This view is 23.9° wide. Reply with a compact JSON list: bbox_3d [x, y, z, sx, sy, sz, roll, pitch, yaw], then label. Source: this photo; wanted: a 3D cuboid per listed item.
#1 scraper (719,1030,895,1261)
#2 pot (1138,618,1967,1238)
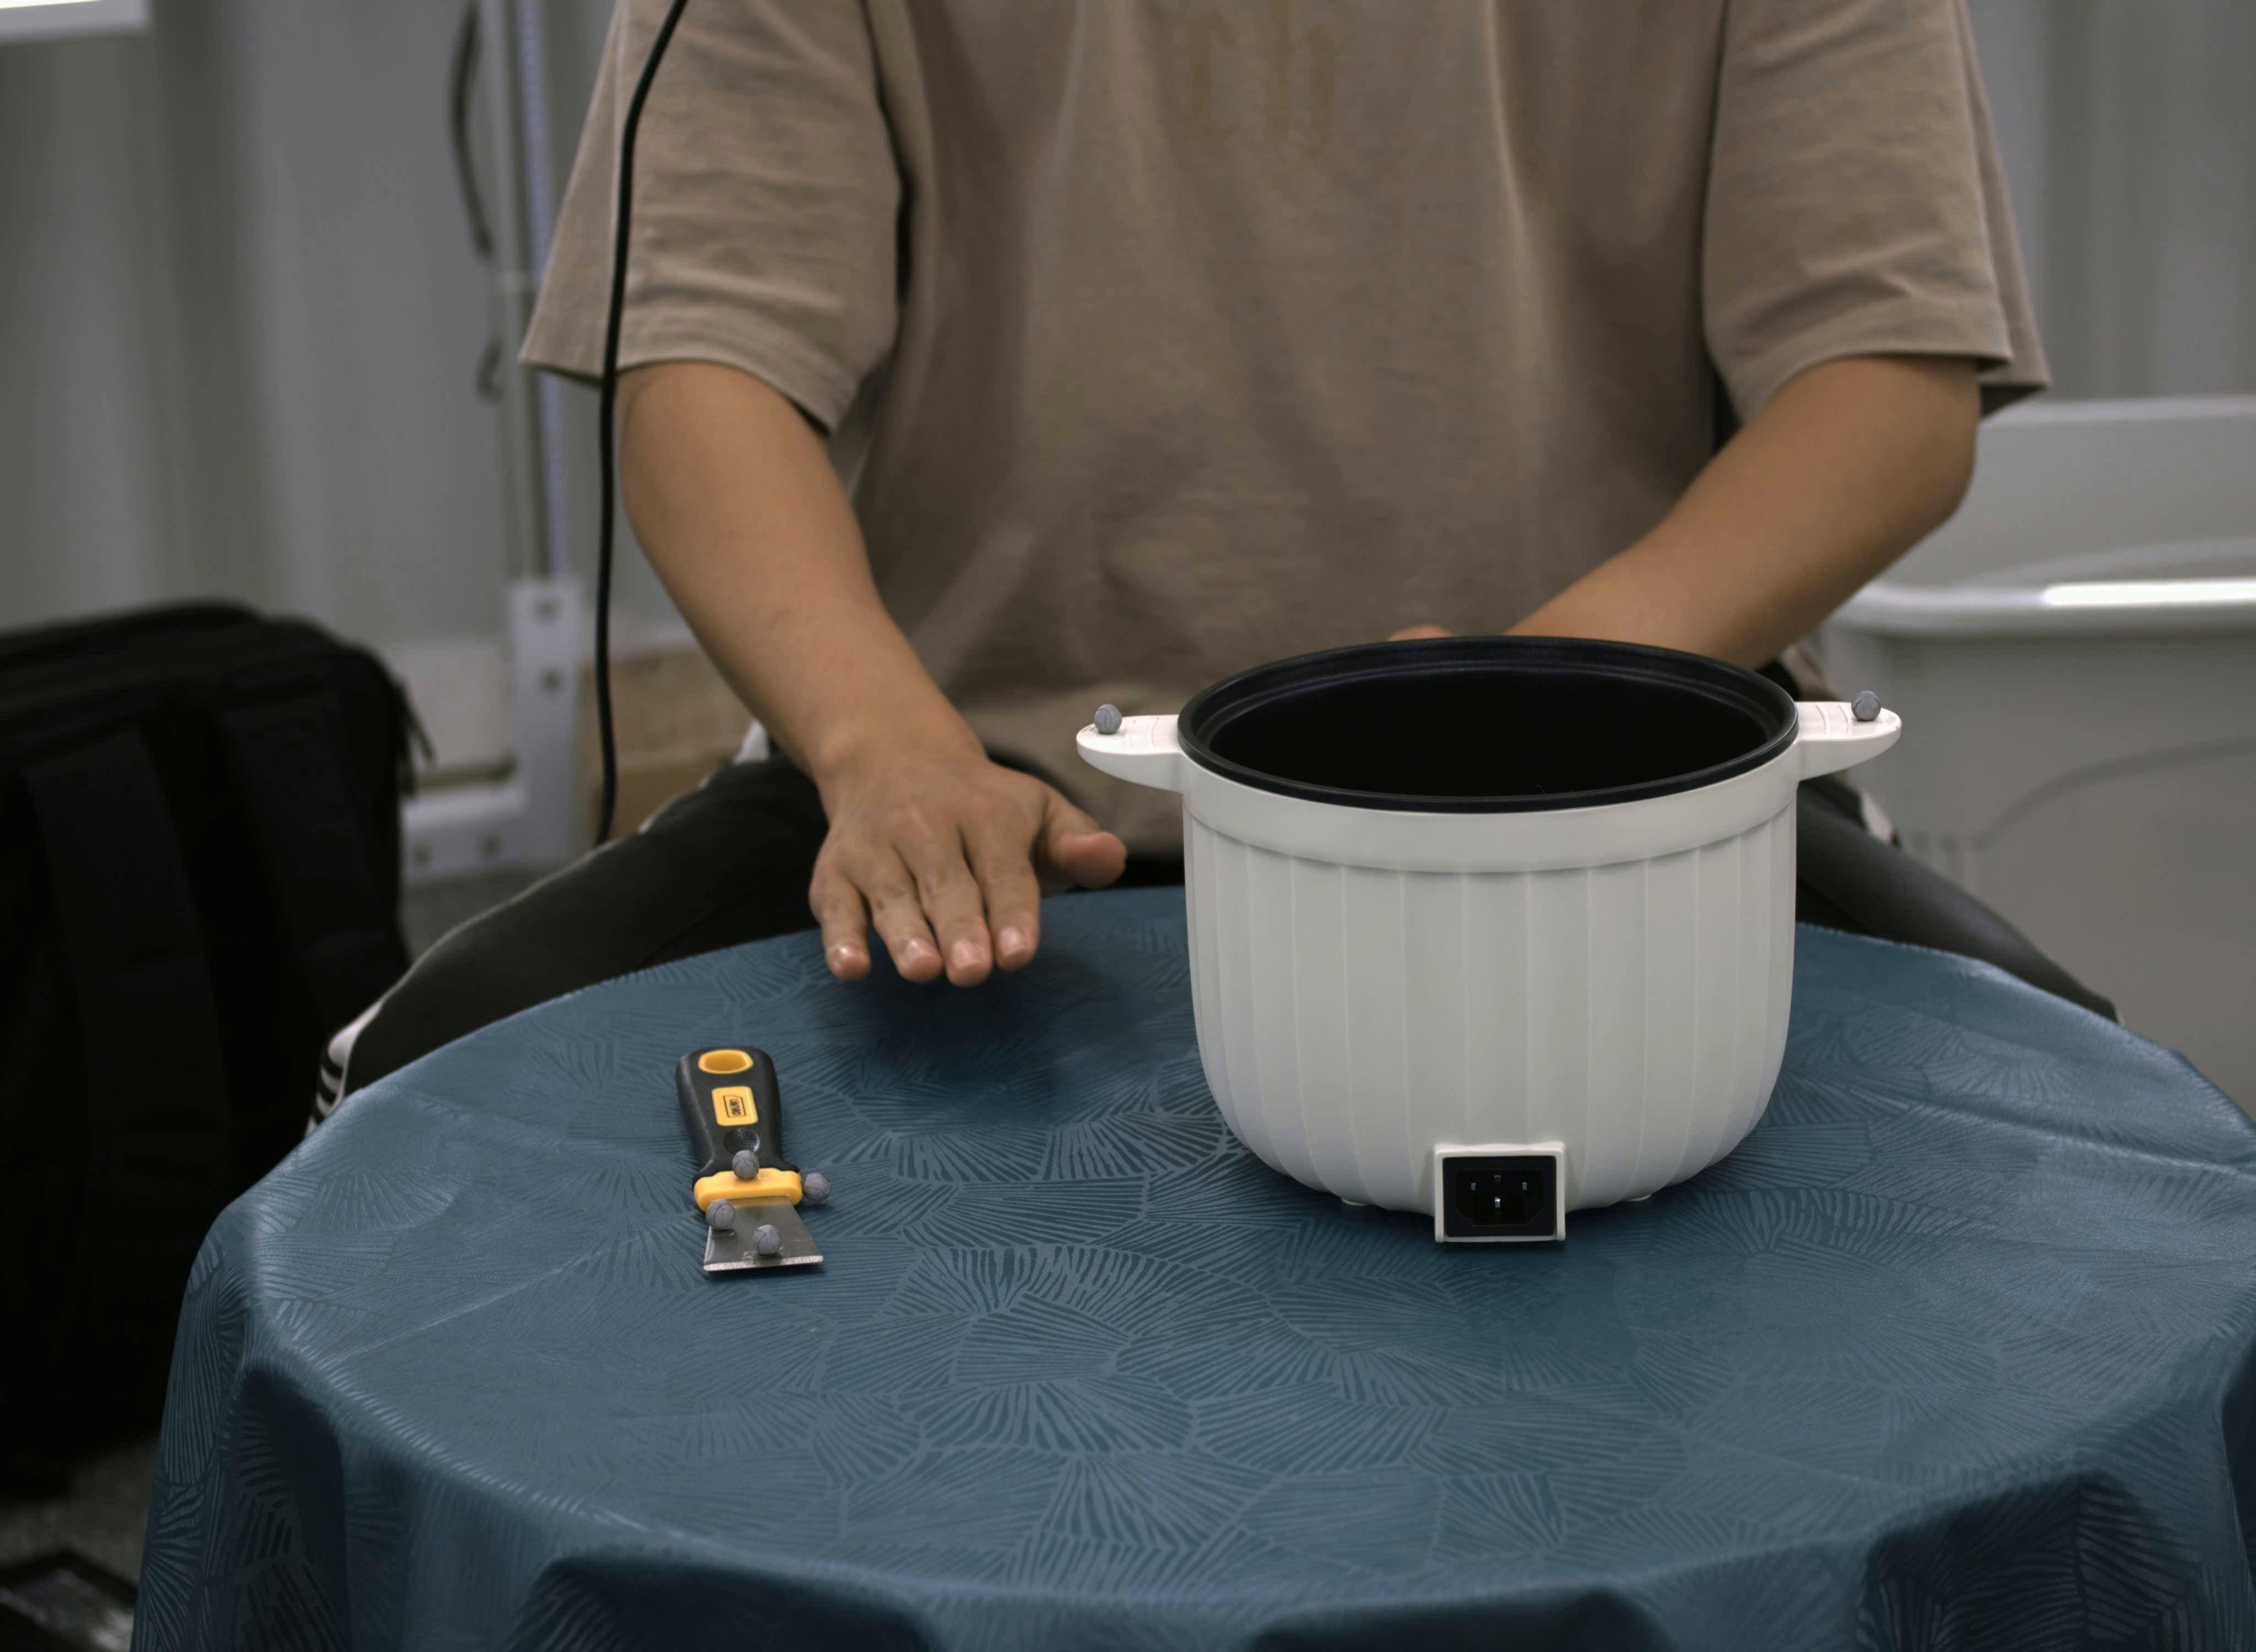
[{"bbox_3d":[-0.099,0.094,1.577,0.038,0.015,0.173,-9,19,-7],"label":"scraper"},{"bbox_3d":[0.123,0.027,1.560,0.240,0.142,0.191,0,20,3],"label":"pot"}]
